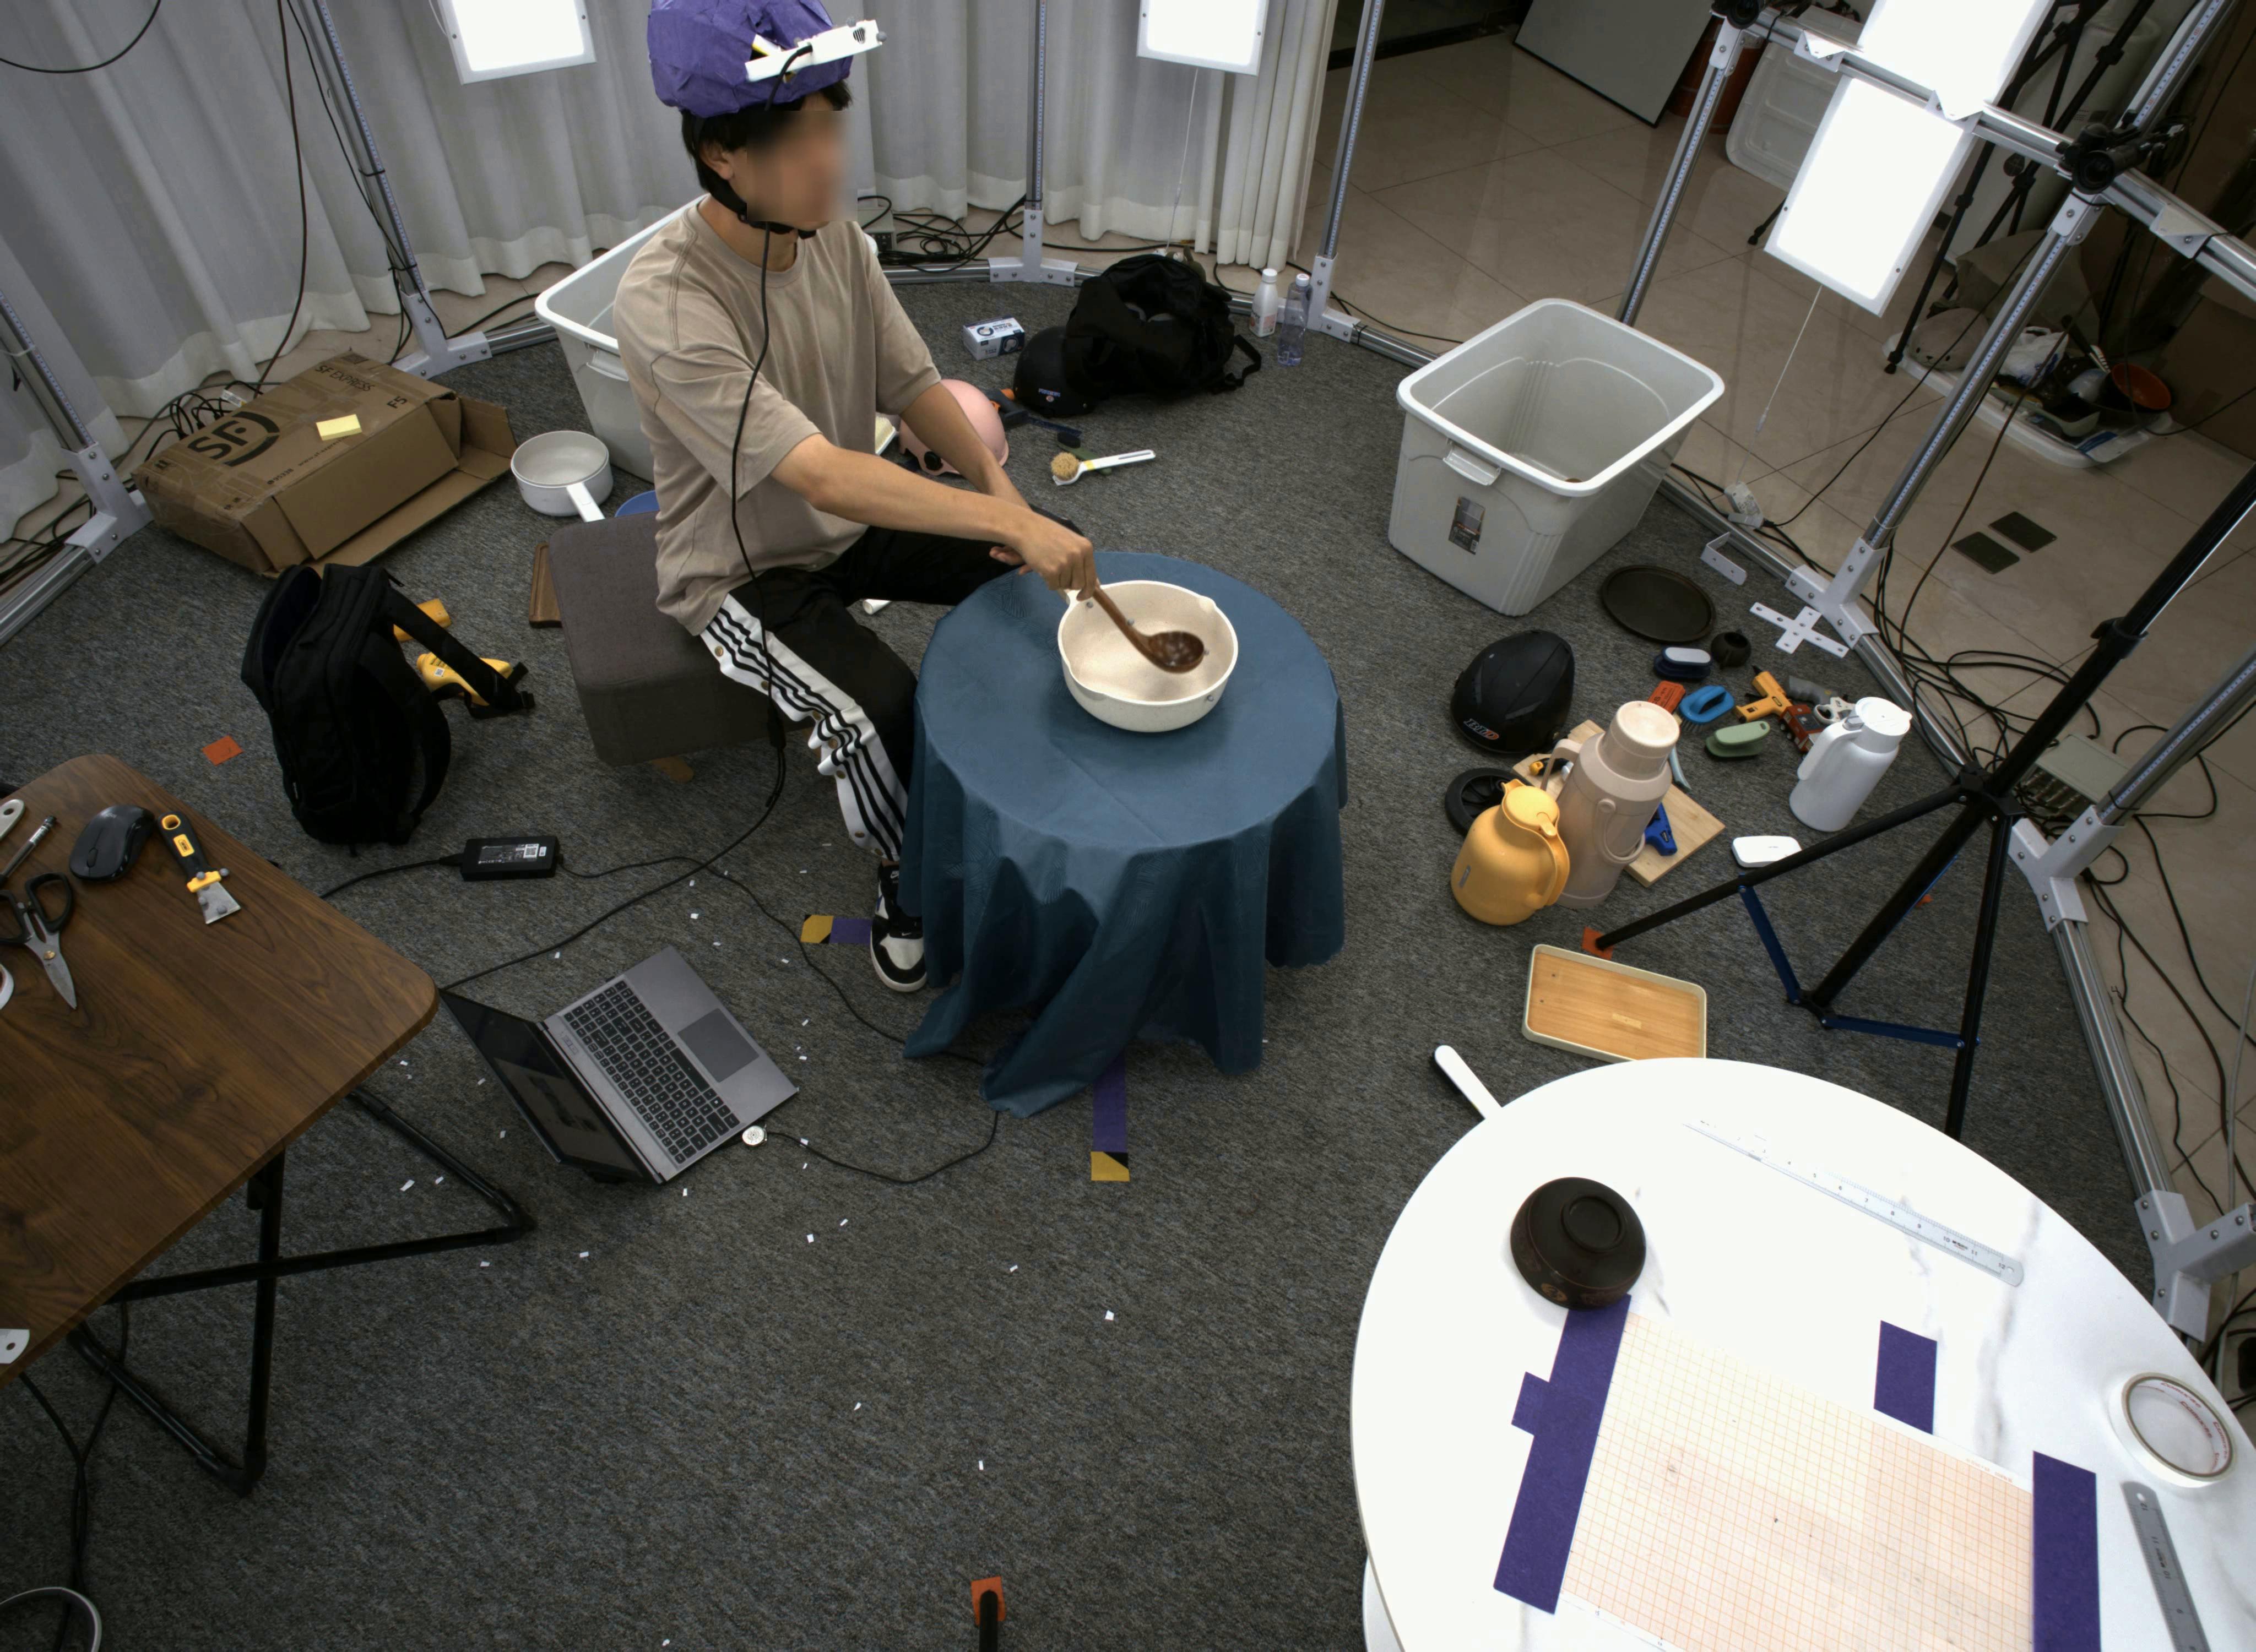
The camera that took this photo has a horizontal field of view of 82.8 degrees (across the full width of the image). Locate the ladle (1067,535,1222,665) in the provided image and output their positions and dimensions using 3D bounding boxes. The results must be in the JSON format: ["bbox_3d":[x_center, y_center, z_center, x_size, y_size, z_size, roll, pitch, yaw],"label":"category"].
[{"bbox_3d":[0.030,-0.311,1.730,0.076,0.269,0.084,-35,39,16],"label":"ladle"}]

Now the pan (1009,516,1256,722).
[{"bbox_3d":[-0.015,-0.304,1.853,0.441,0.099,0.266,38,57,25],"label":"pan"}]
